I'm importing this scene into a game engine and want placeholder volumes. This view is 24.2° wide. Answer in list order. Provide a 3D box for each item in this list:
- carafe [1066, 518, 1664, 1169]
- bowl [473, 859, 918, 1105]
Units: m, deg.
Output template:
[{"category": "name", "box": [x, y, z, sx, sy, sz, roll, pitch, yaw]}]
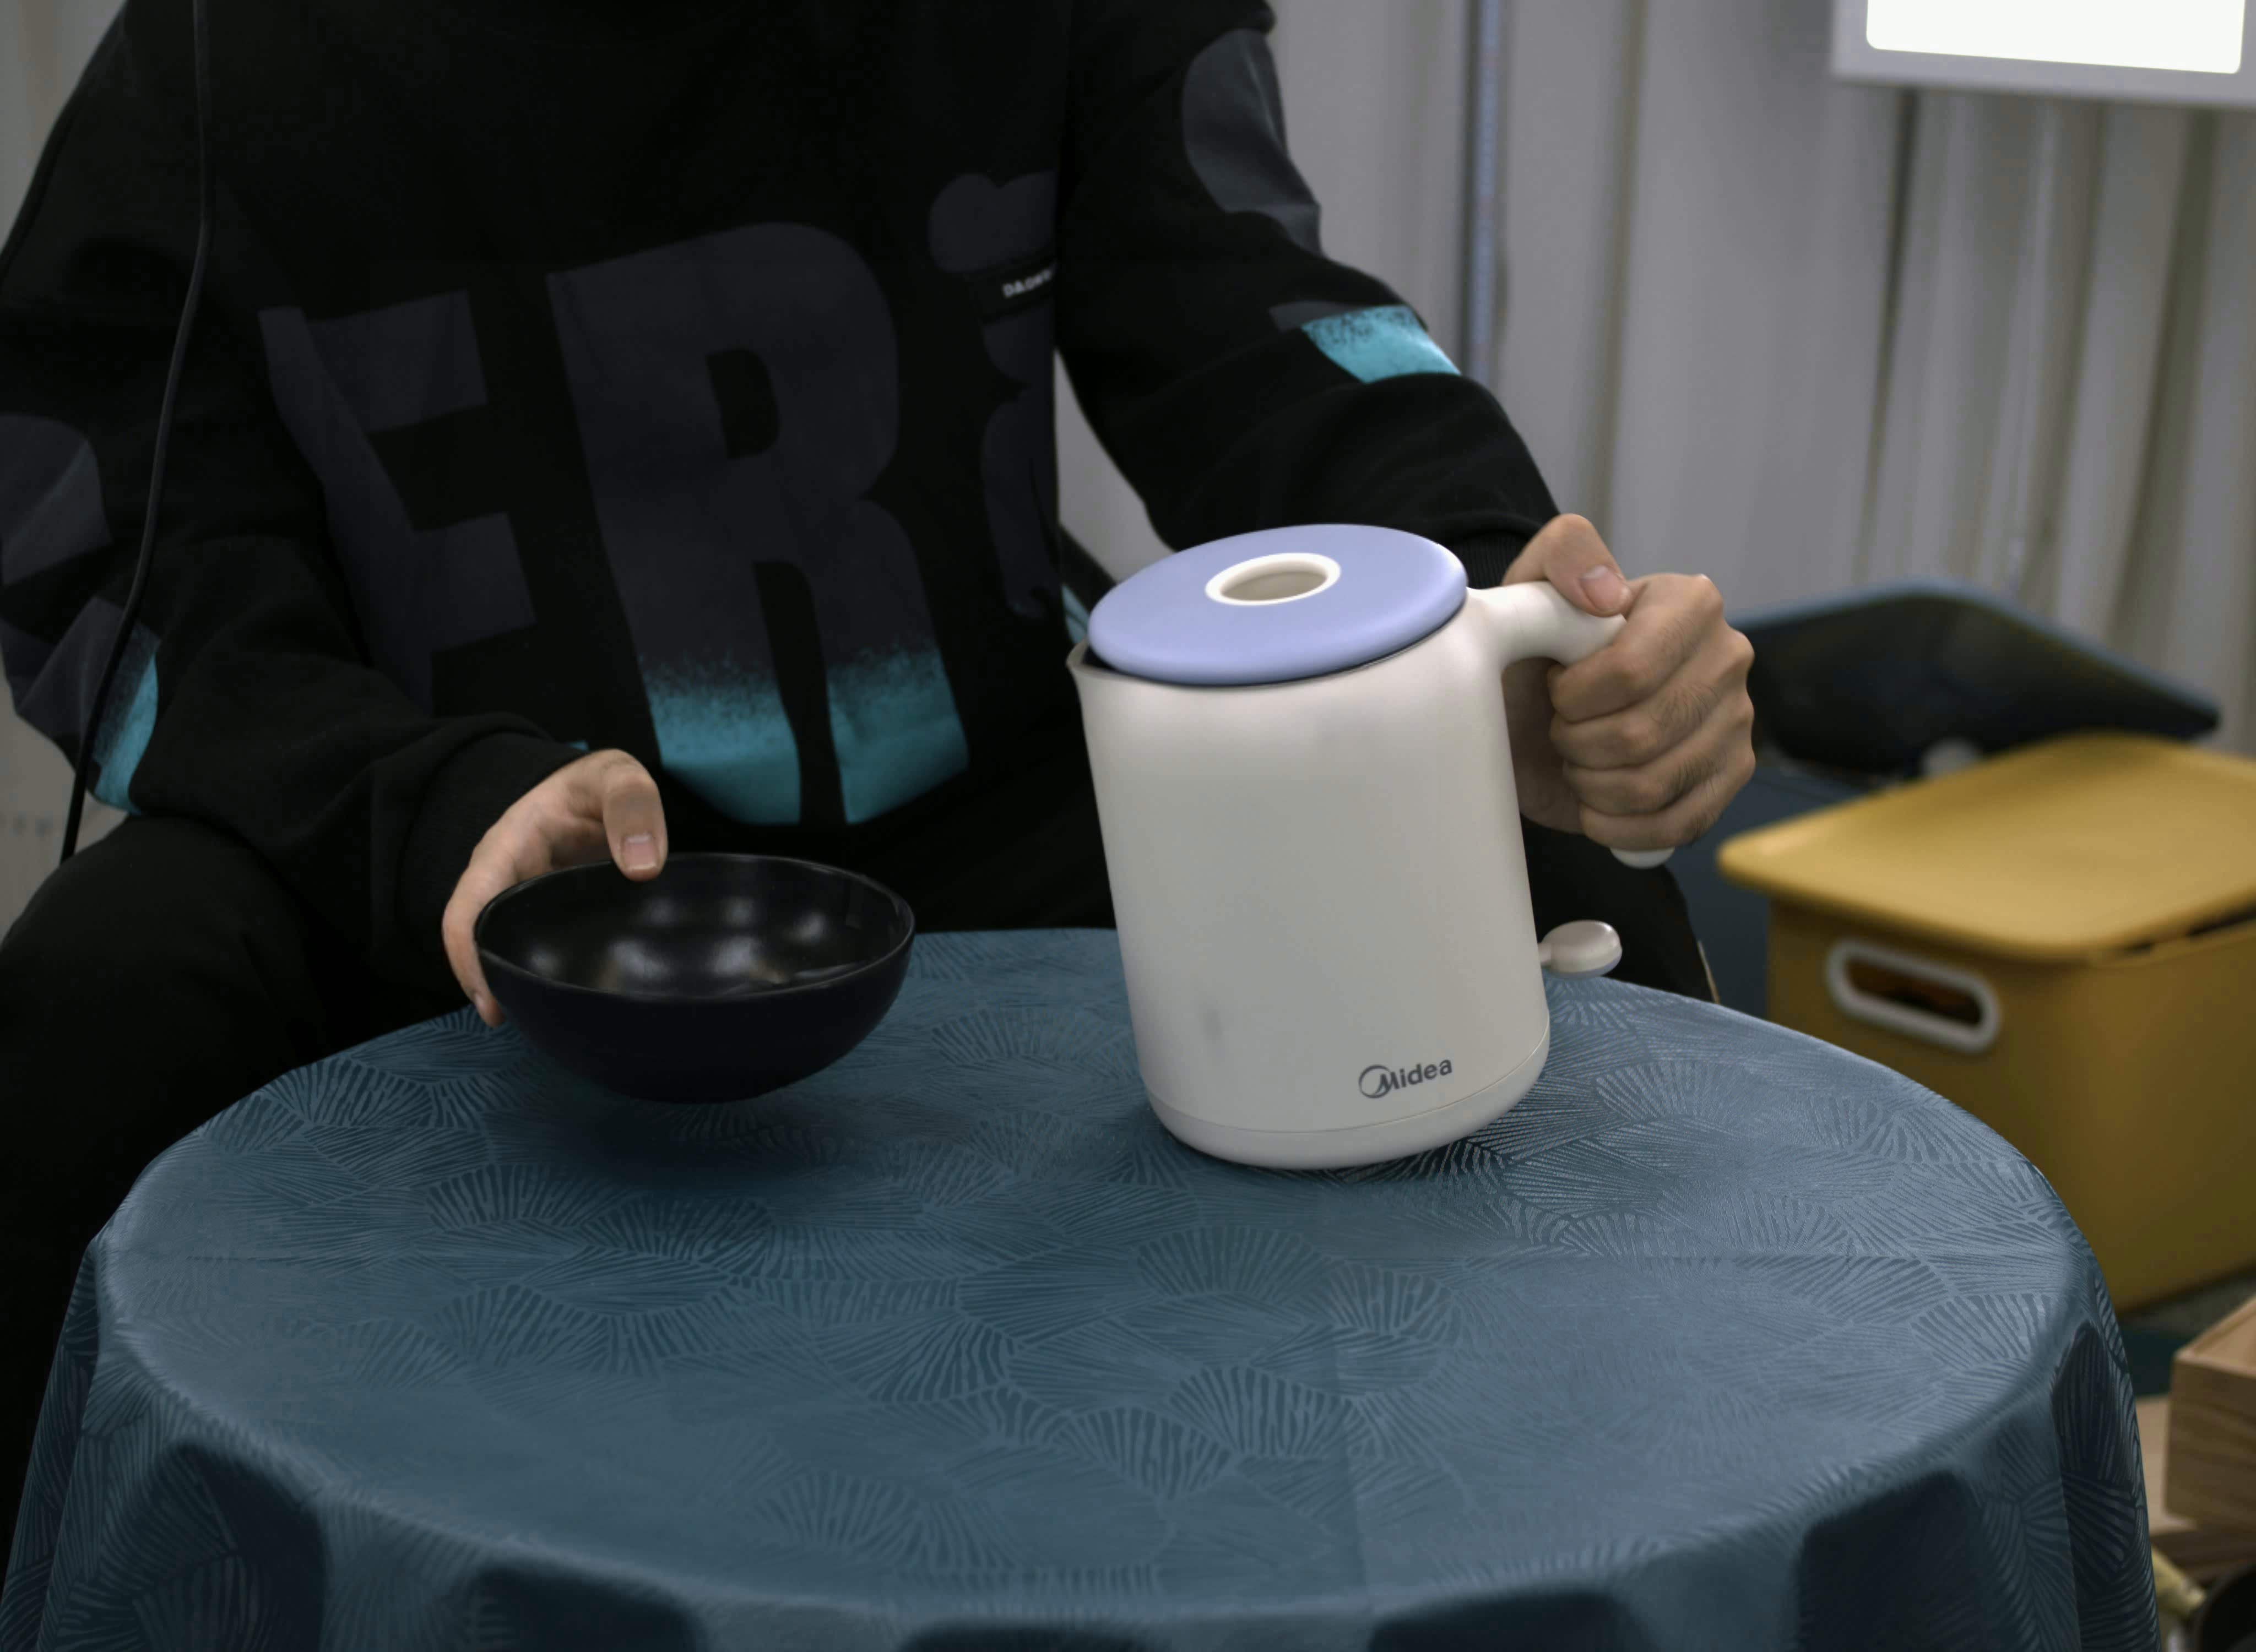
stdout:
[{"category": "carafe", "box": [0.080, -0.001, 1.656, 0.191, 0.184, 0.130, -14, 25, -15]}, {"category": "bowl", "box": [-0.135, 0.053, 1.651, 0.139, 0.050, 0.139, 1, 16, 0]}]
